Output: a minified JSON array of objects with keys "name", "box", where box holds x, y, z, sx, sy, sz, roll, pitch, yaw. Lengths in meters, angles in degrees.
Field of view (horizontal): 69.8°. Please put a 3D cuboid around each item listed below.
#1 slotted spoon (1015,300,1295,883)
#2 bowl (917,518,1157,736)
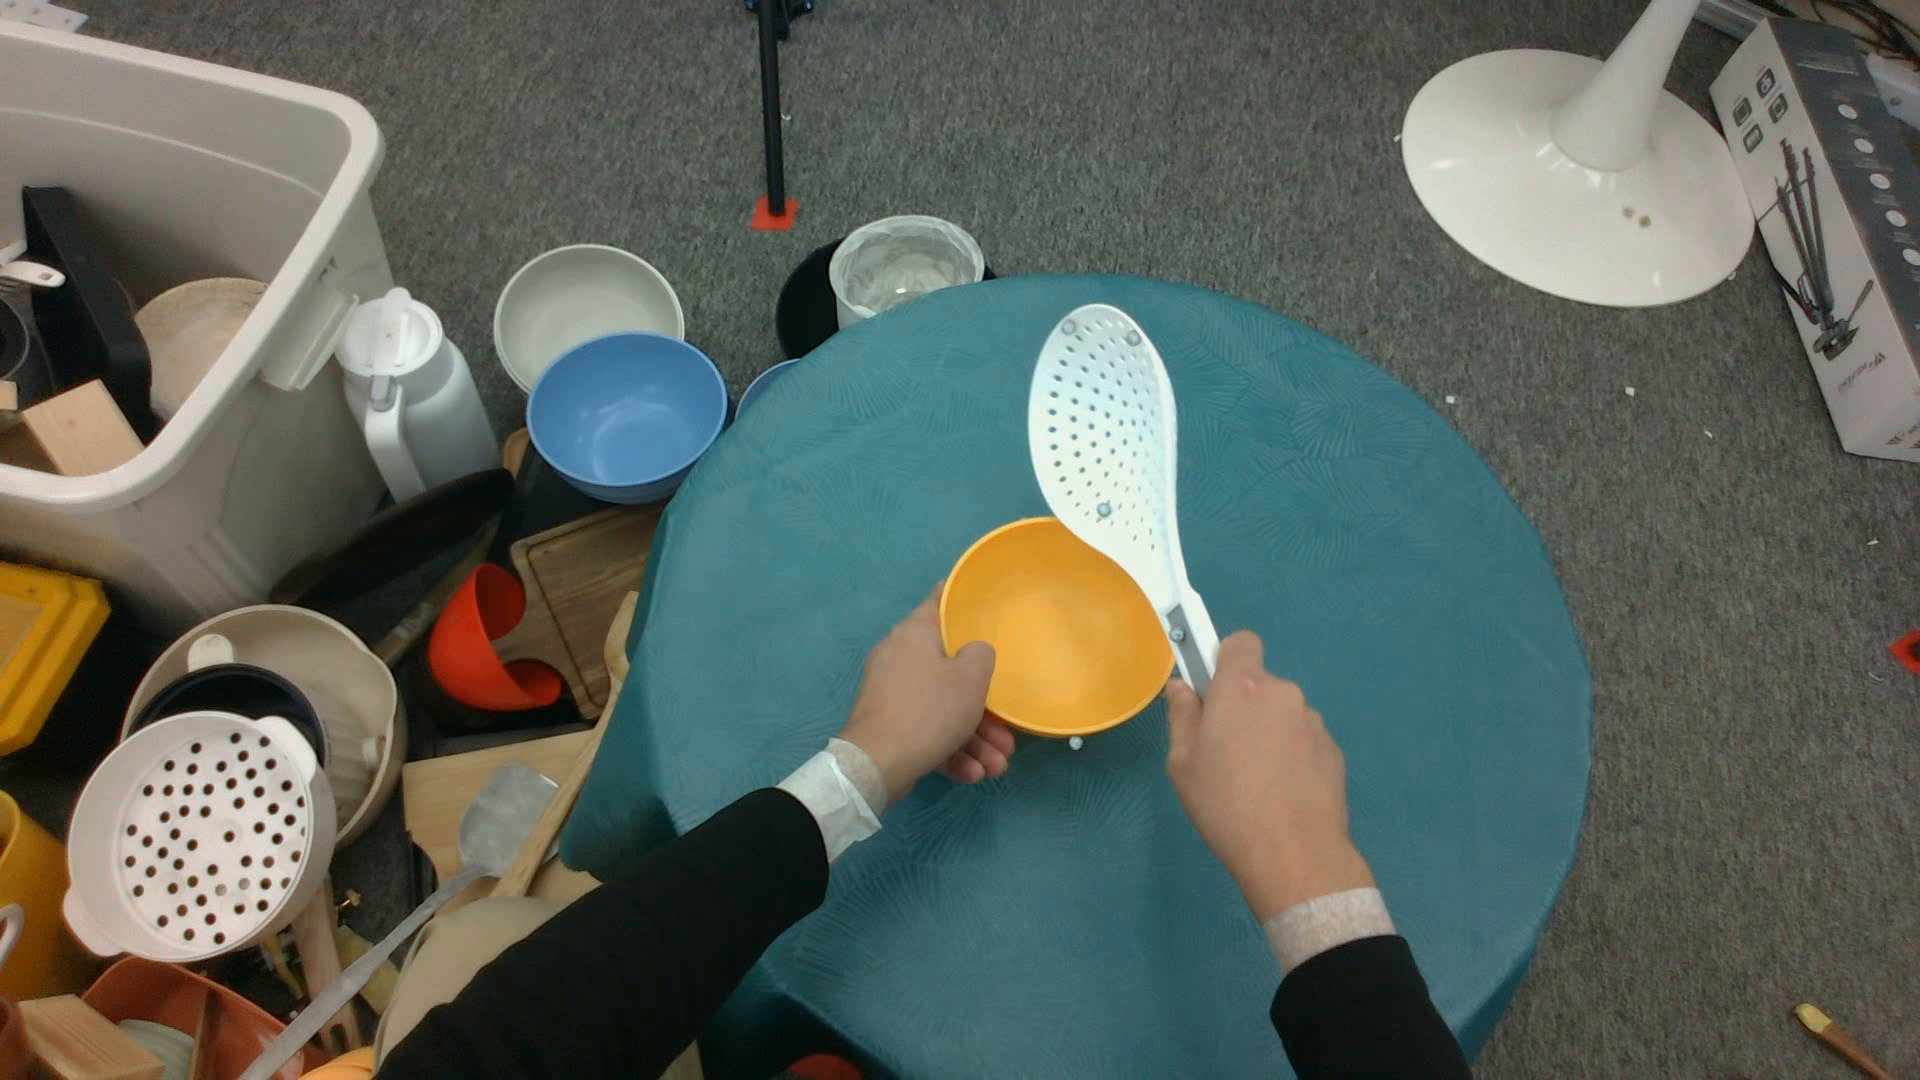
[{"name":"slotted spoon","box":[0.106,0.019,0.763,0.046,0.135,0.351,1,57,-27]},{"name":"bowl","box":[0.045,0.062,0.839,0.145,0.060,0.146,1,58,-2]}]
